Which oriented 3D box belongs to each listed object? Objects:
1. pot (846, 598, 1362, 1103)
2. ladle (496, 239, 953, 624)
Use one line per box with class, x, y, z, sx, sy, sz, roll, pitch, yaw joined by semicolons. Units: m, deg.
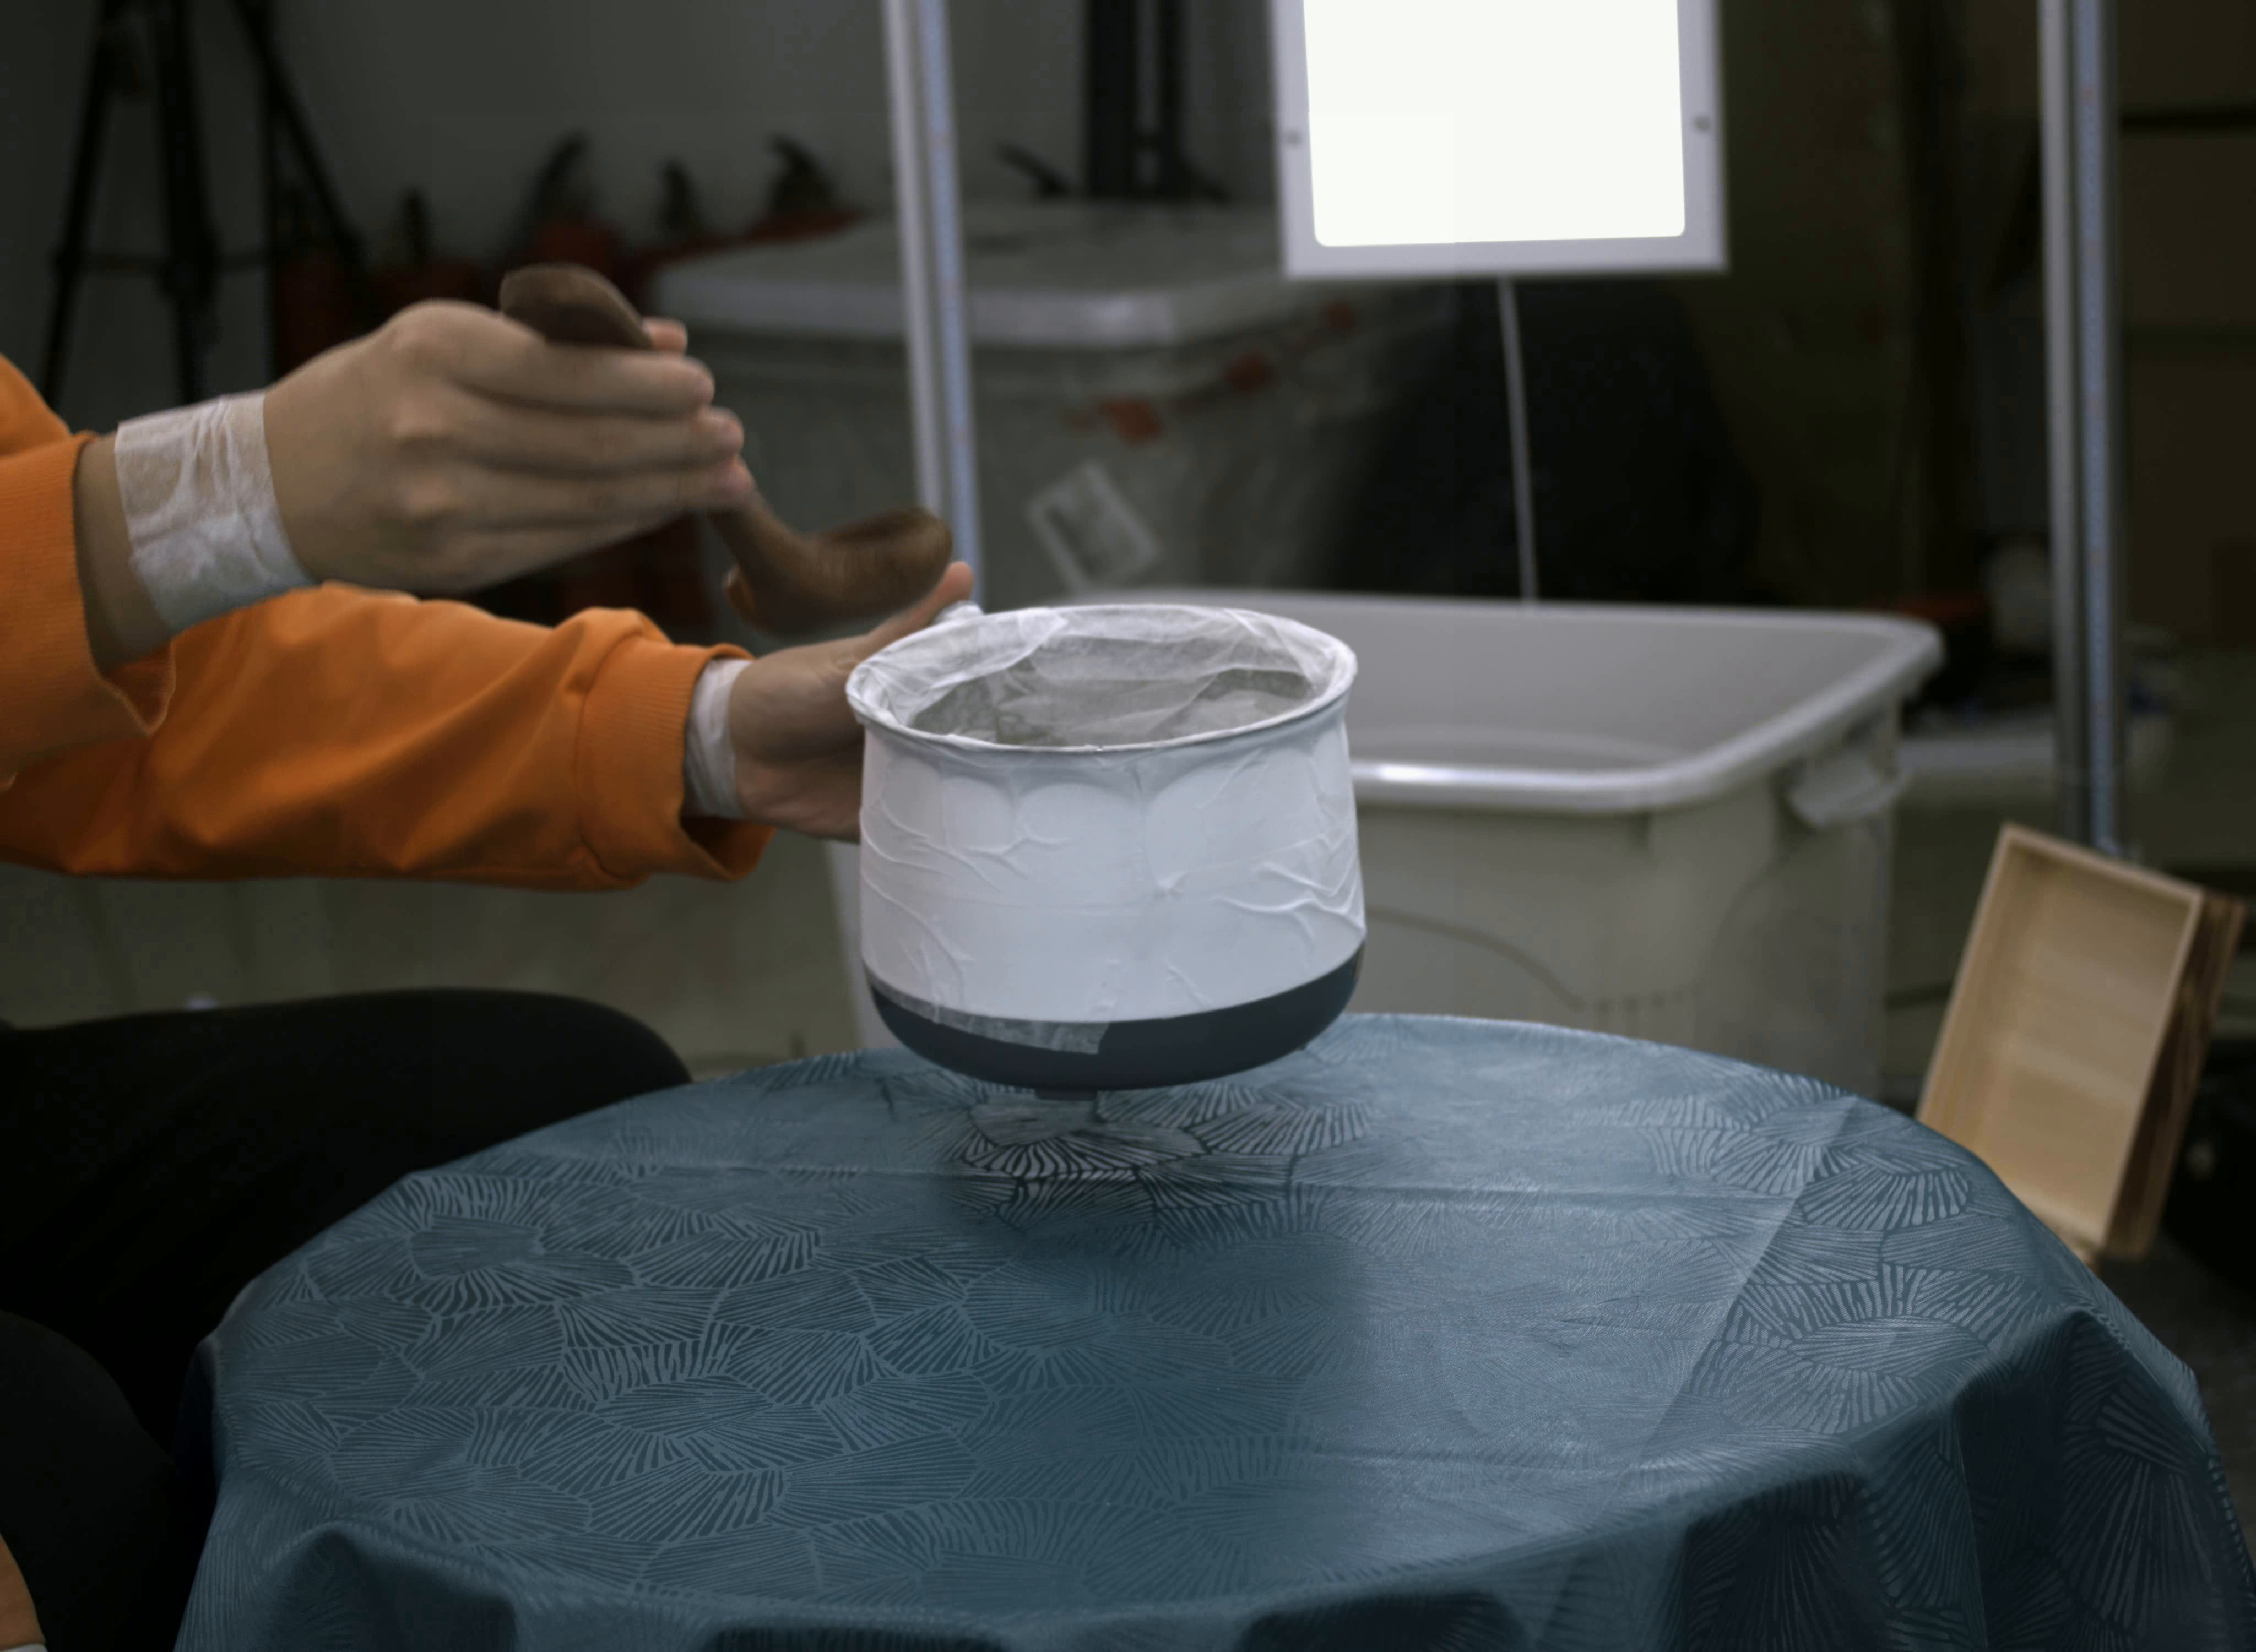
pot;-0.022;0.001;1.932;0.175;0.137;0.238;-12;20;-29
ladle;-0.127;-0.128;1.665;0.077;0.065;0.257;-18;-31;16
